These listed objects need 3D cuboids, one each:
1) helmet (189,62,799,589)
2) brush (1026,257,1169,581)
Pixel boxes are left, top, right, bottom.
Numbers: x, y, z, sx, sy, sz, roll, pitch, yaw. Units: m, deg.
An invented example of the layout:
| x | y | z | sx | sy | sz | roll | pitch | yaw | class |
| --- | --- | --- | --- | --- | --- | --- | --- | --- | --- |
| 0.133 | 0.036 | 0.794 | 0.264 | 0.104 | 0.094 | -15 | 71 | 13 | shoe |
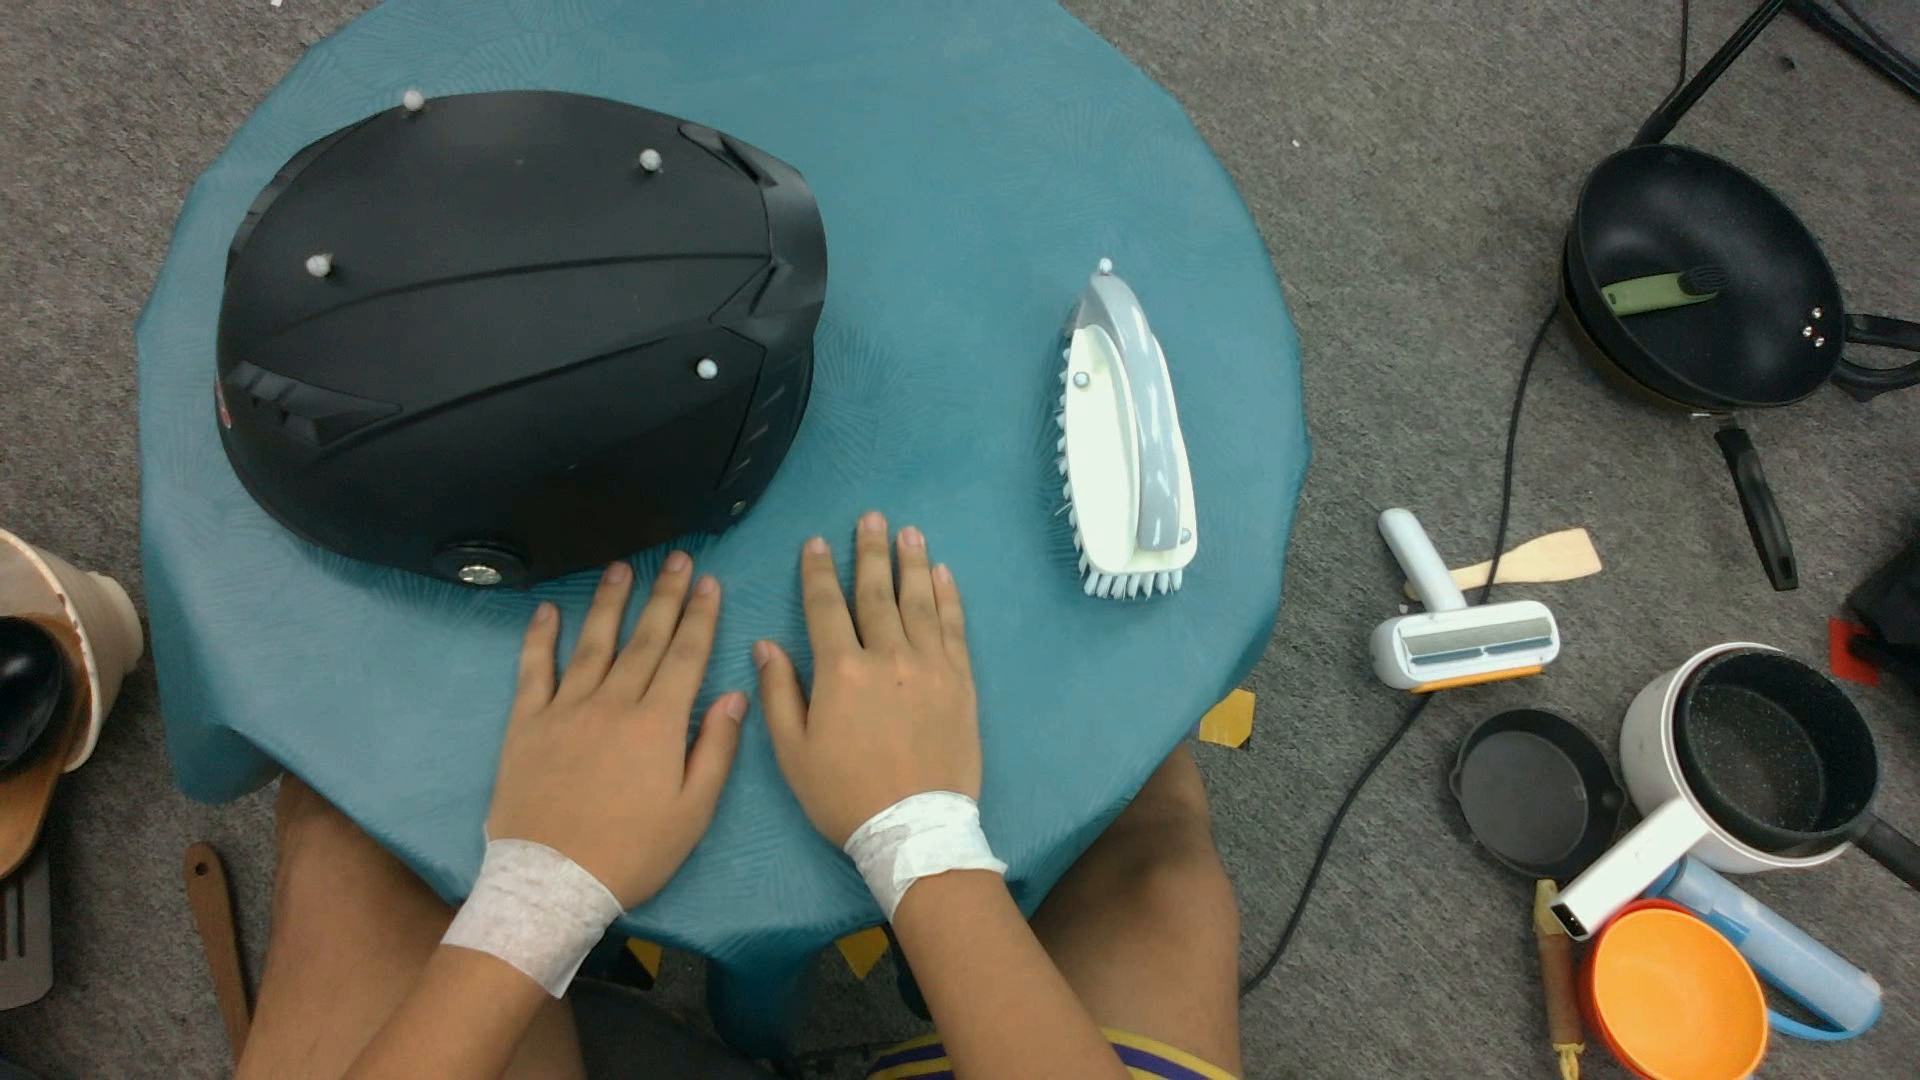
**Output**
| x | y | z | sx | sy | sz | roll | pitch | yaw | class |
| --- | --- | --- | --- | --- | --- | --- | --- | --- | --- |
| -0.212 | -0.113 | 0.625 | 0.277 | 0.171 | 0.247 | -5 | 69 | -16 | helmet |
| 0.069 | -0.075 | 0.694 | 0.061 | 0.094 | 0.176 | -3 | 67 | -12 | brush |
